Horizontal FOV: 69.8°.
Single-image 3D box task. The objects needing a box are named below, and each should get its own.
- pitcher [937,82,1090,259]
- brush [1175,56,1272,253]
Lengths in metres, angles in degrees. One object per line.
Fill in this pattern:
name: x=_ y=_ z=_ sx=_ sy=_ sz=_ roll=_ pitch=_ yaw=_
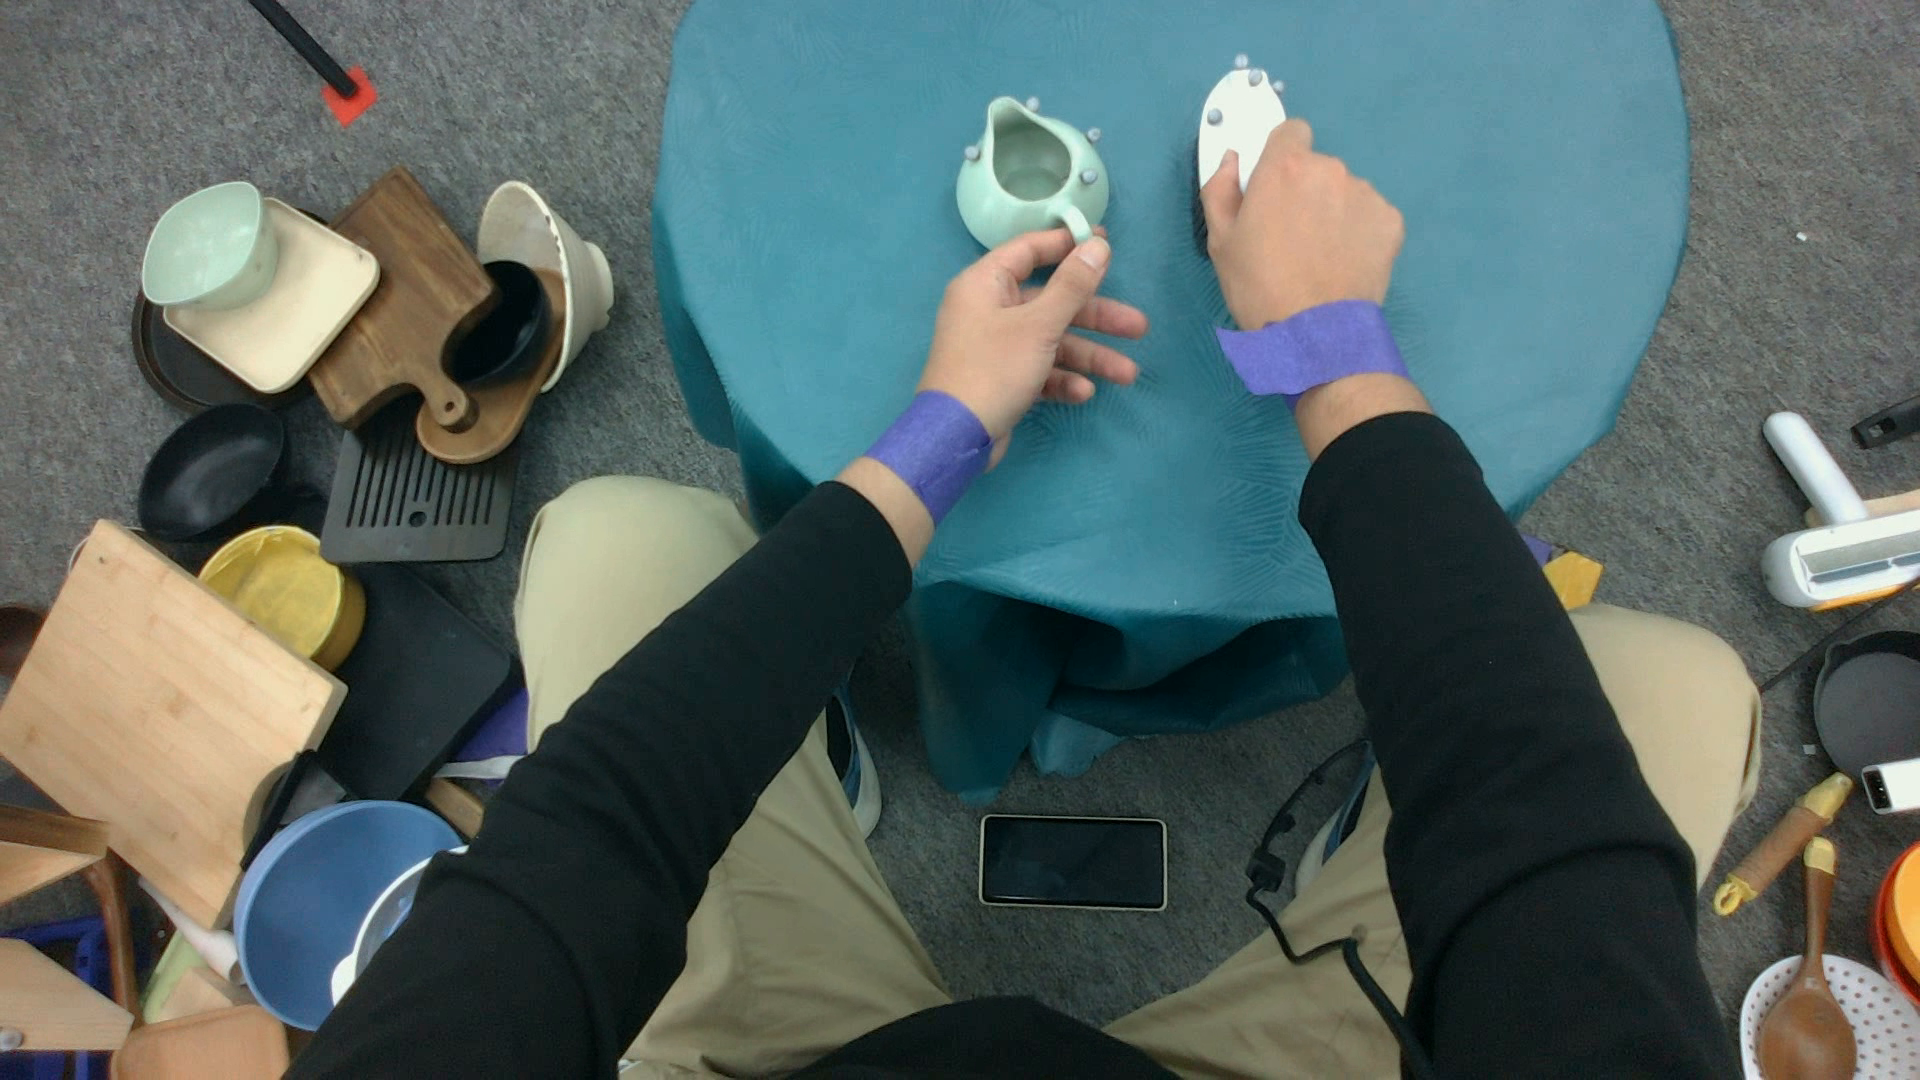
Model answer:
pitcher: x=0.036 y=-0.201 z=0.771 sx=0.086 sy=0.060 sz=0.108 roll=-31 pitch=78 yaw=-5
brush: x=0.148 y=-0.220 z=0.760 sx=0.050 sy=0.072 sz=0.099 roll=2 pitch=73 yaw=2
